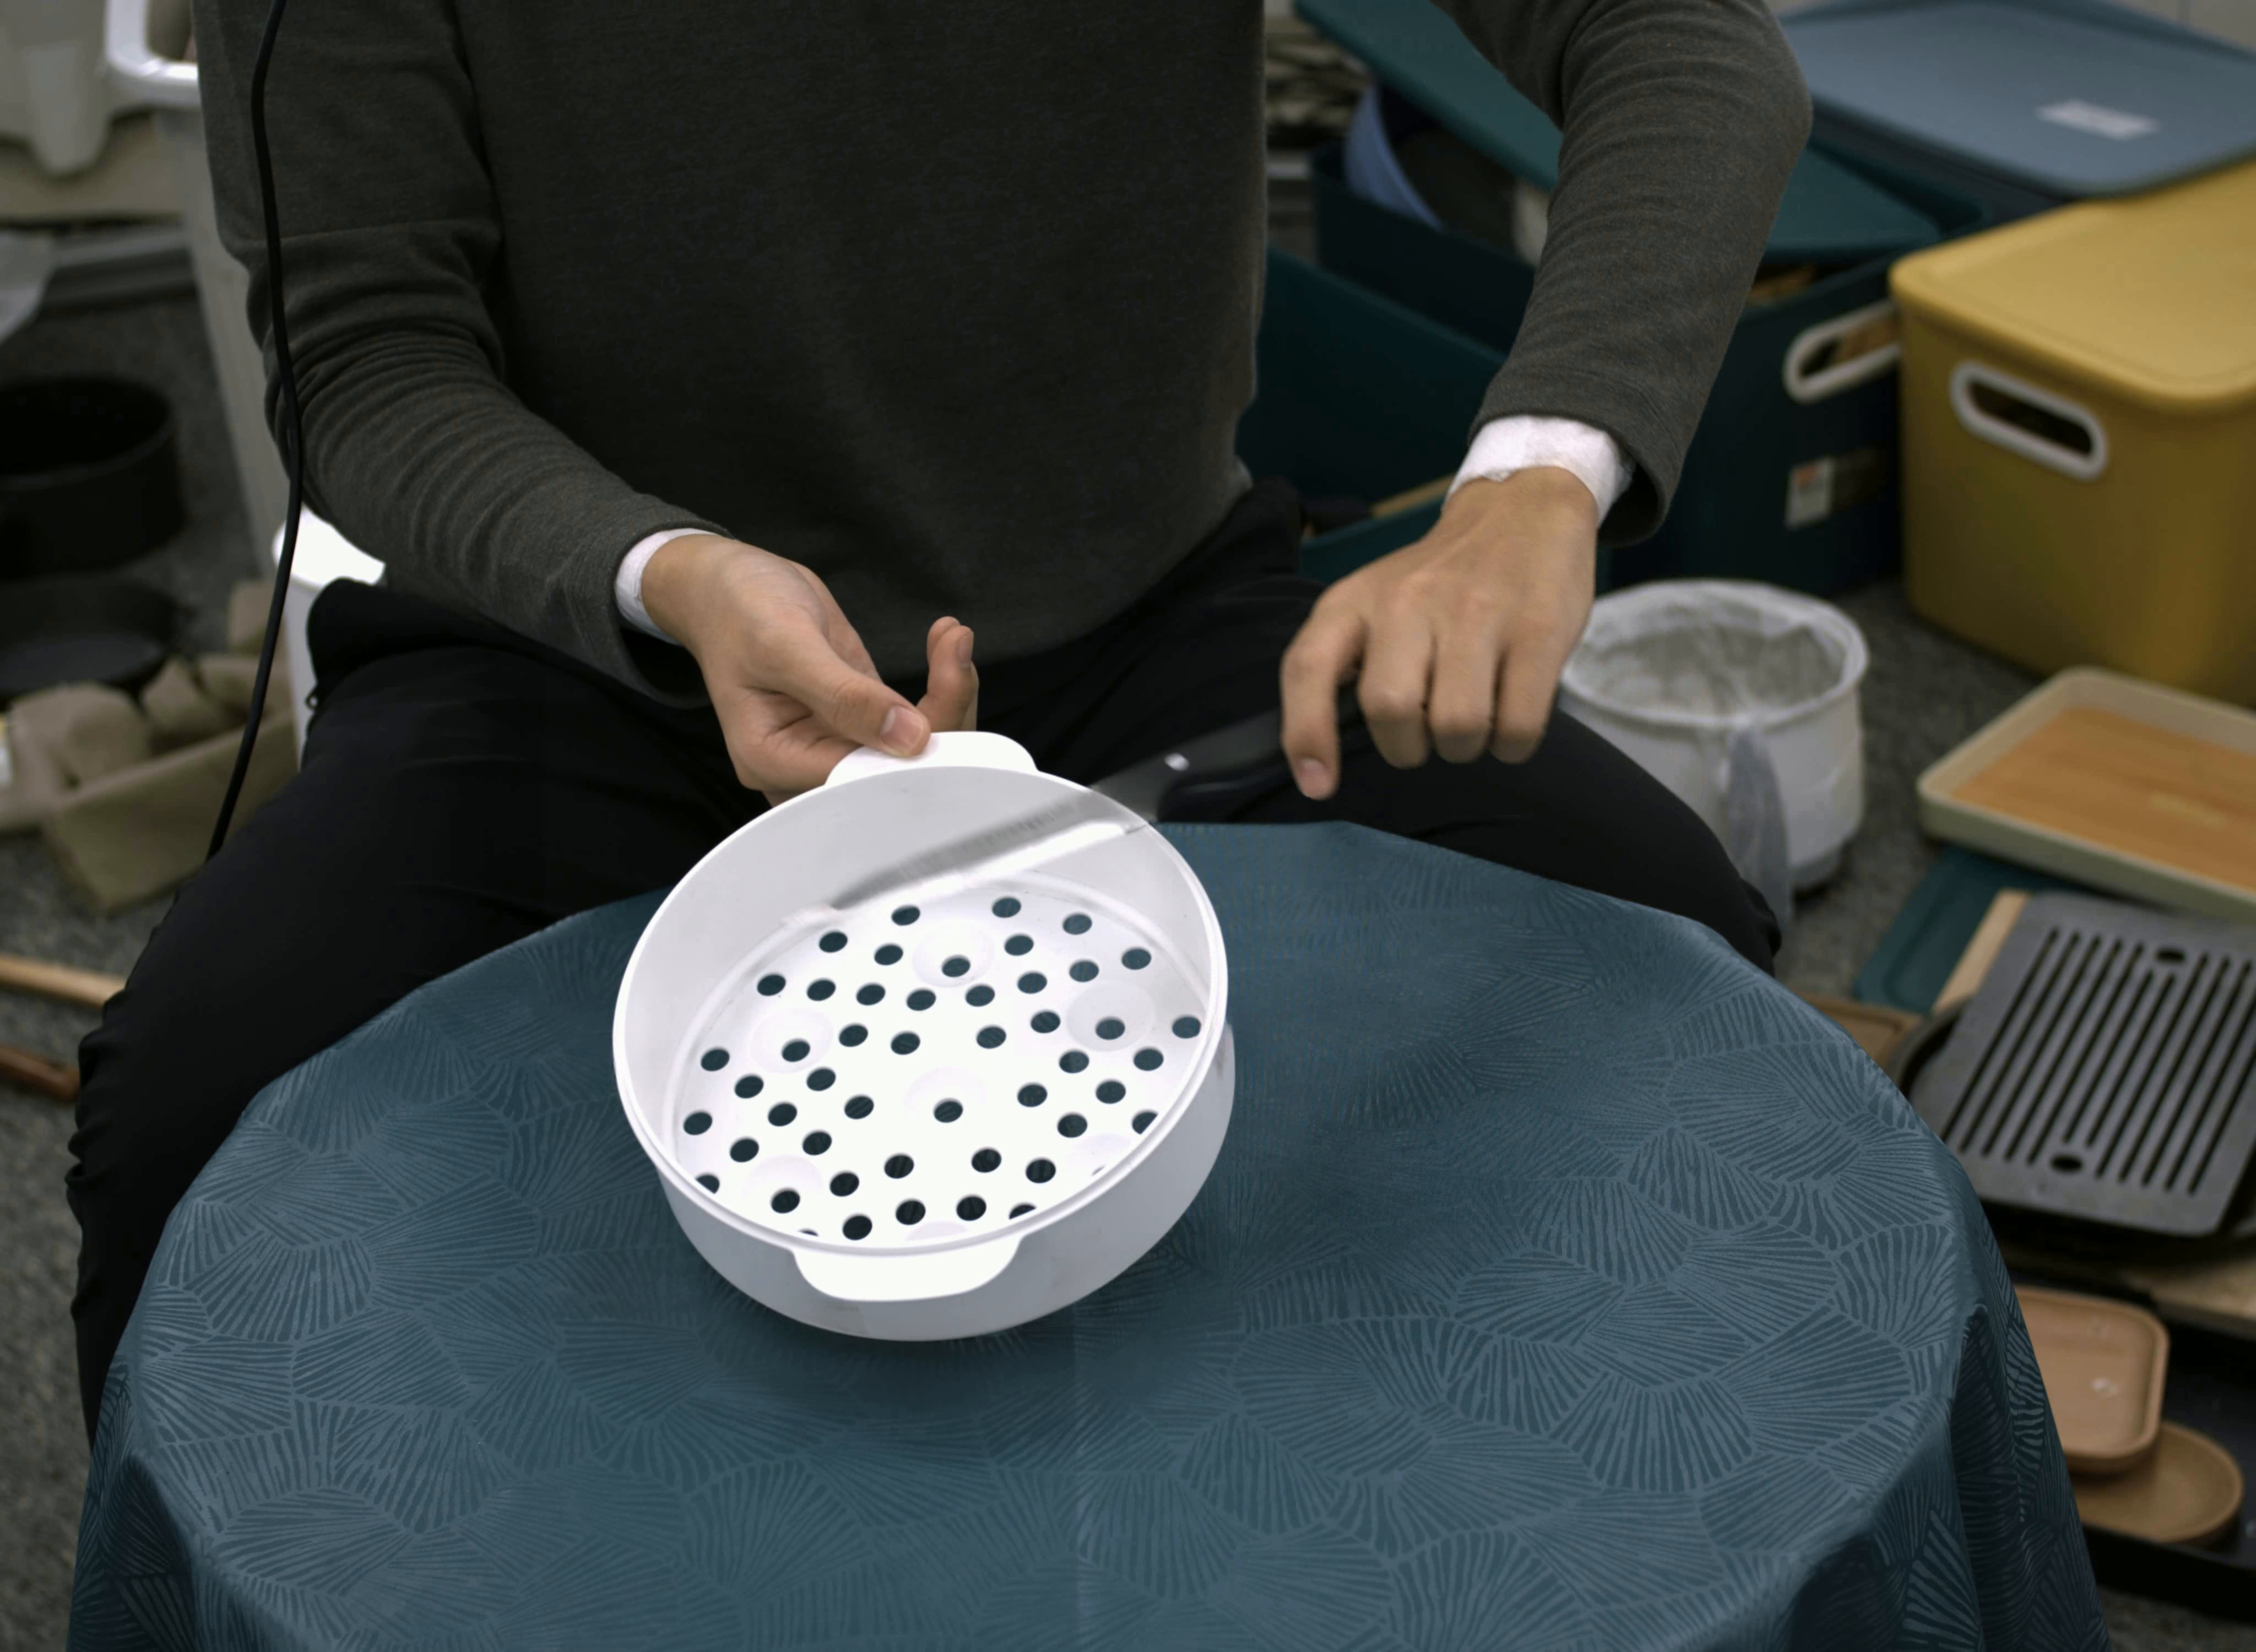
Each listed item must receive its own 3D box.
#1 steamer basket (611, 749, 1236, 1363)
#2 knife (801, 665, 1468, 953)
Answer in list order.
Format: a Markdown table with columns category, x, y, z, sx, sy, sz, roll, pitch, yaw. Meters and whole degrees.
| category | x | y | z | sx | sy | sz | roll | pitch | yaw |
| --- | --- | --- | --- | --- | --- | --- | --- | --- | --- |
| steamer basket | -0.063 | 0.079 | 1.821 | 0.200 | 0.068 | 0.235 | -4 | 47 | 6 |
| knife | 0.002 | -0.005 | 1.805 | 0.239 | 0.016 | 0.025 | -22 | 45 | -17 |
